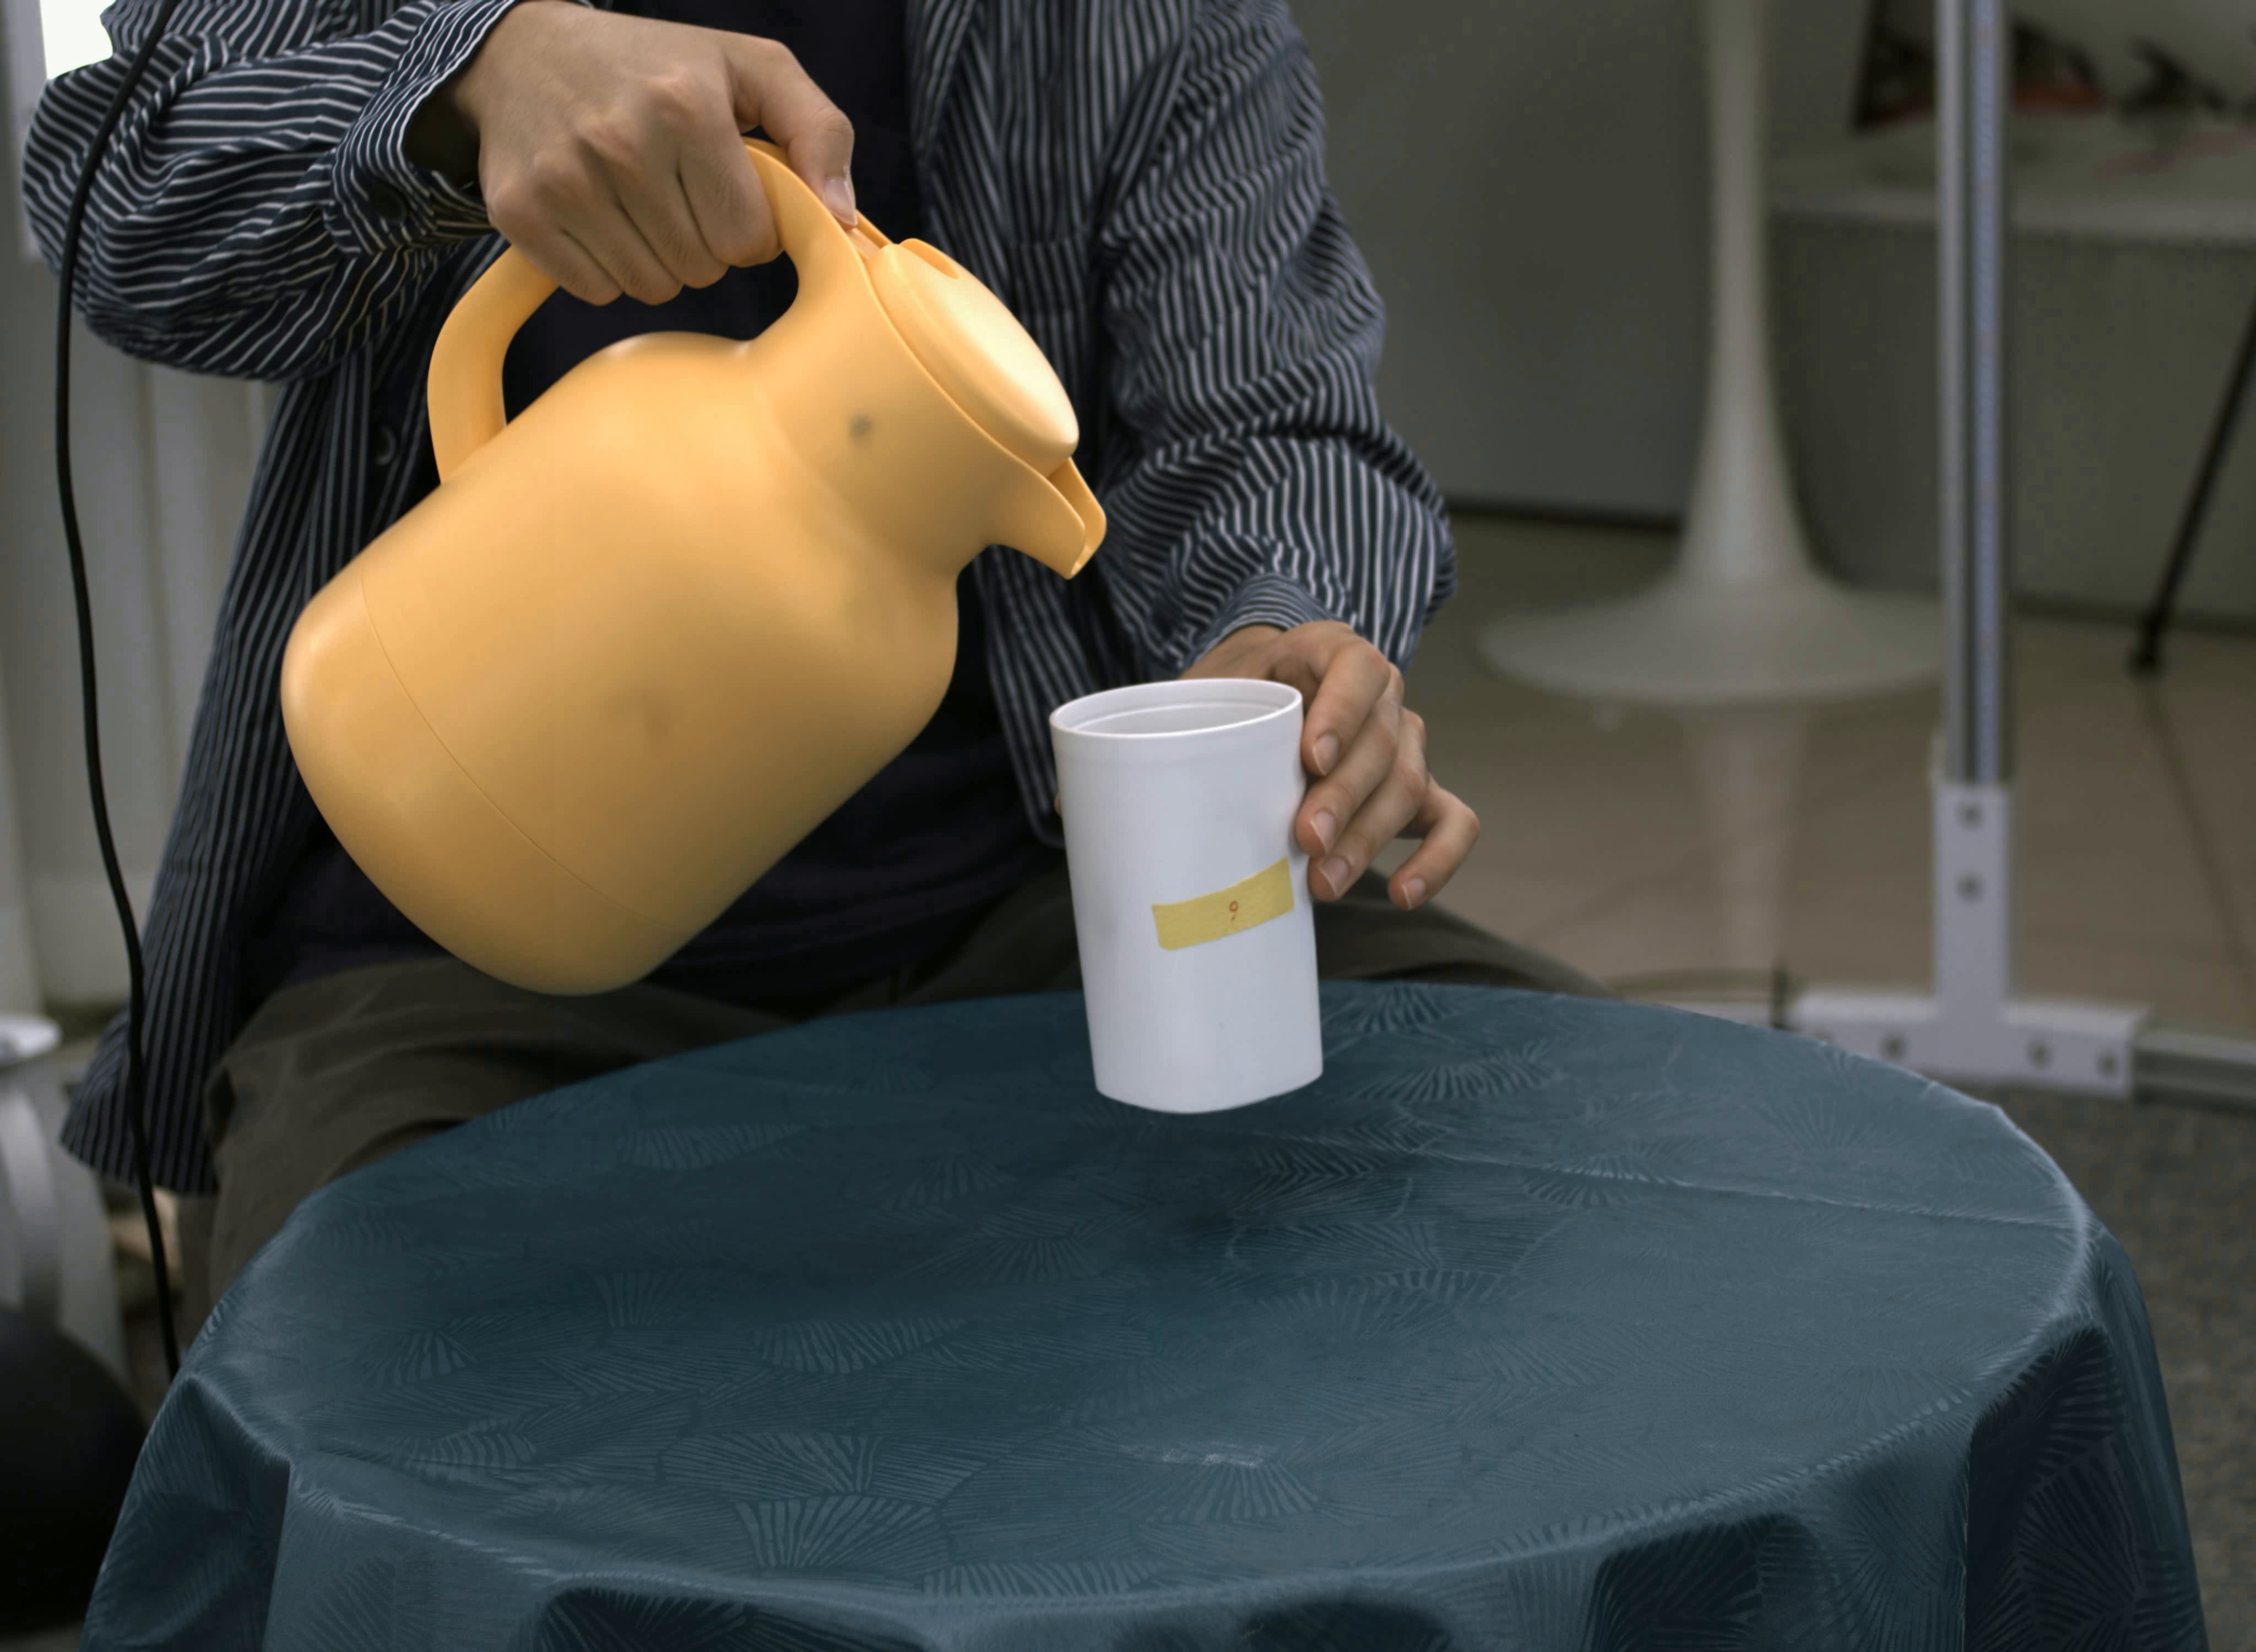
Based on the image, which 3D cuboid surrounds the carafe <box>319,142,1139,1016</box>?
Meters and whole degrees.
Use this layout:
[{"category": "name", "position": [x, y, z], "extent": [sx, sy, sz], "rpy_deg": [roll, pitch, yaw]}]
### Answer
[{"category": "carafe", "position": [-0.135, -0.085, 1.718], "extent": [0.261, 0.203, 0.162], "rpy_deg": [-40, -2, 16]}]

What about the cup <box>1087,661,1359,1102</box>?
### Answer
[{"category": "cup", "position": [0.033, 0.018, 1.710], "extent": [0.080, 0.127, 0.082], "rpy_deg": [-6, 11, 0]}]
